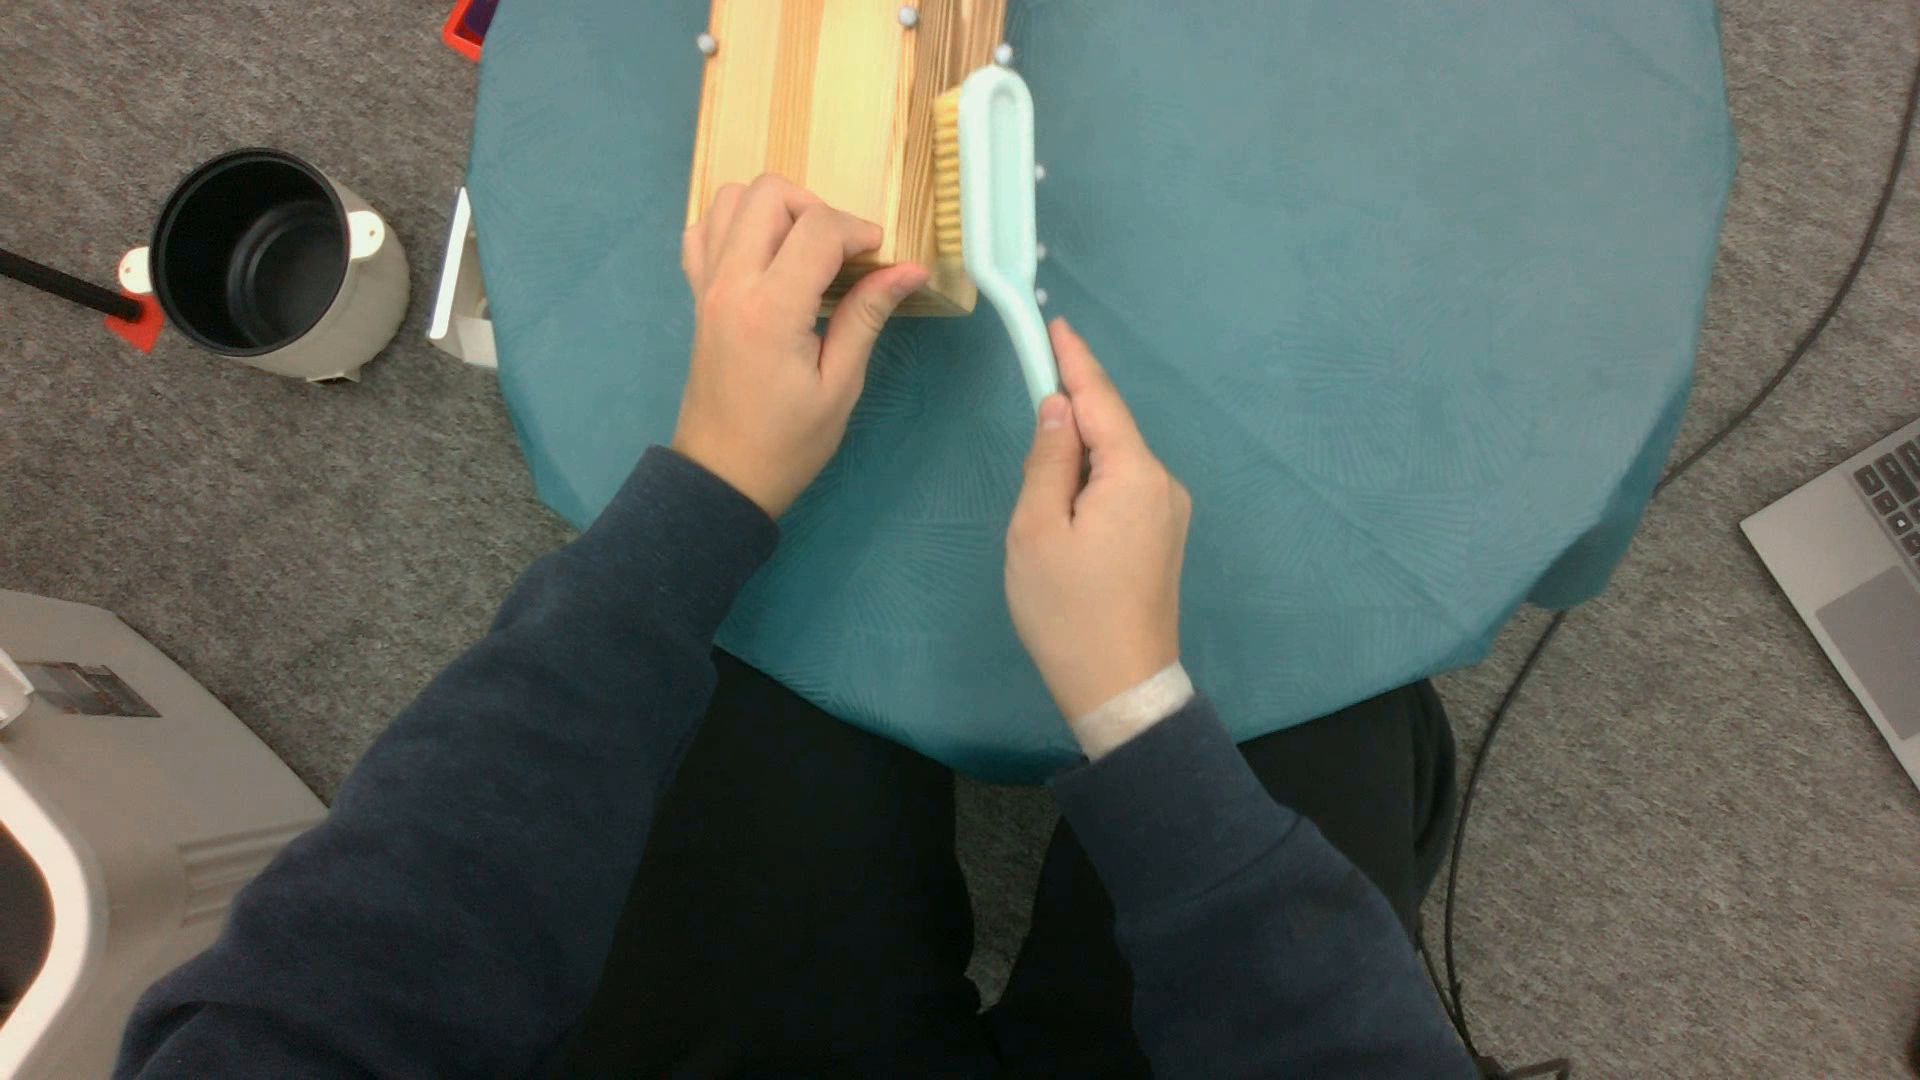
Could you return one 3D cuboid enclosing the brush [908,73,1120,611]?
[{"bbox_3d":[0.023,-0.080,0.582,0.049,0.038,0.229,-18,90,42],"label":"brush"}]

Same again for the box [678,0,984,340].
[{"bbox_3d":[-0.056,-0.206,0.635,0.107,0.080,0.211,0,84,27],"label":"box"}]
